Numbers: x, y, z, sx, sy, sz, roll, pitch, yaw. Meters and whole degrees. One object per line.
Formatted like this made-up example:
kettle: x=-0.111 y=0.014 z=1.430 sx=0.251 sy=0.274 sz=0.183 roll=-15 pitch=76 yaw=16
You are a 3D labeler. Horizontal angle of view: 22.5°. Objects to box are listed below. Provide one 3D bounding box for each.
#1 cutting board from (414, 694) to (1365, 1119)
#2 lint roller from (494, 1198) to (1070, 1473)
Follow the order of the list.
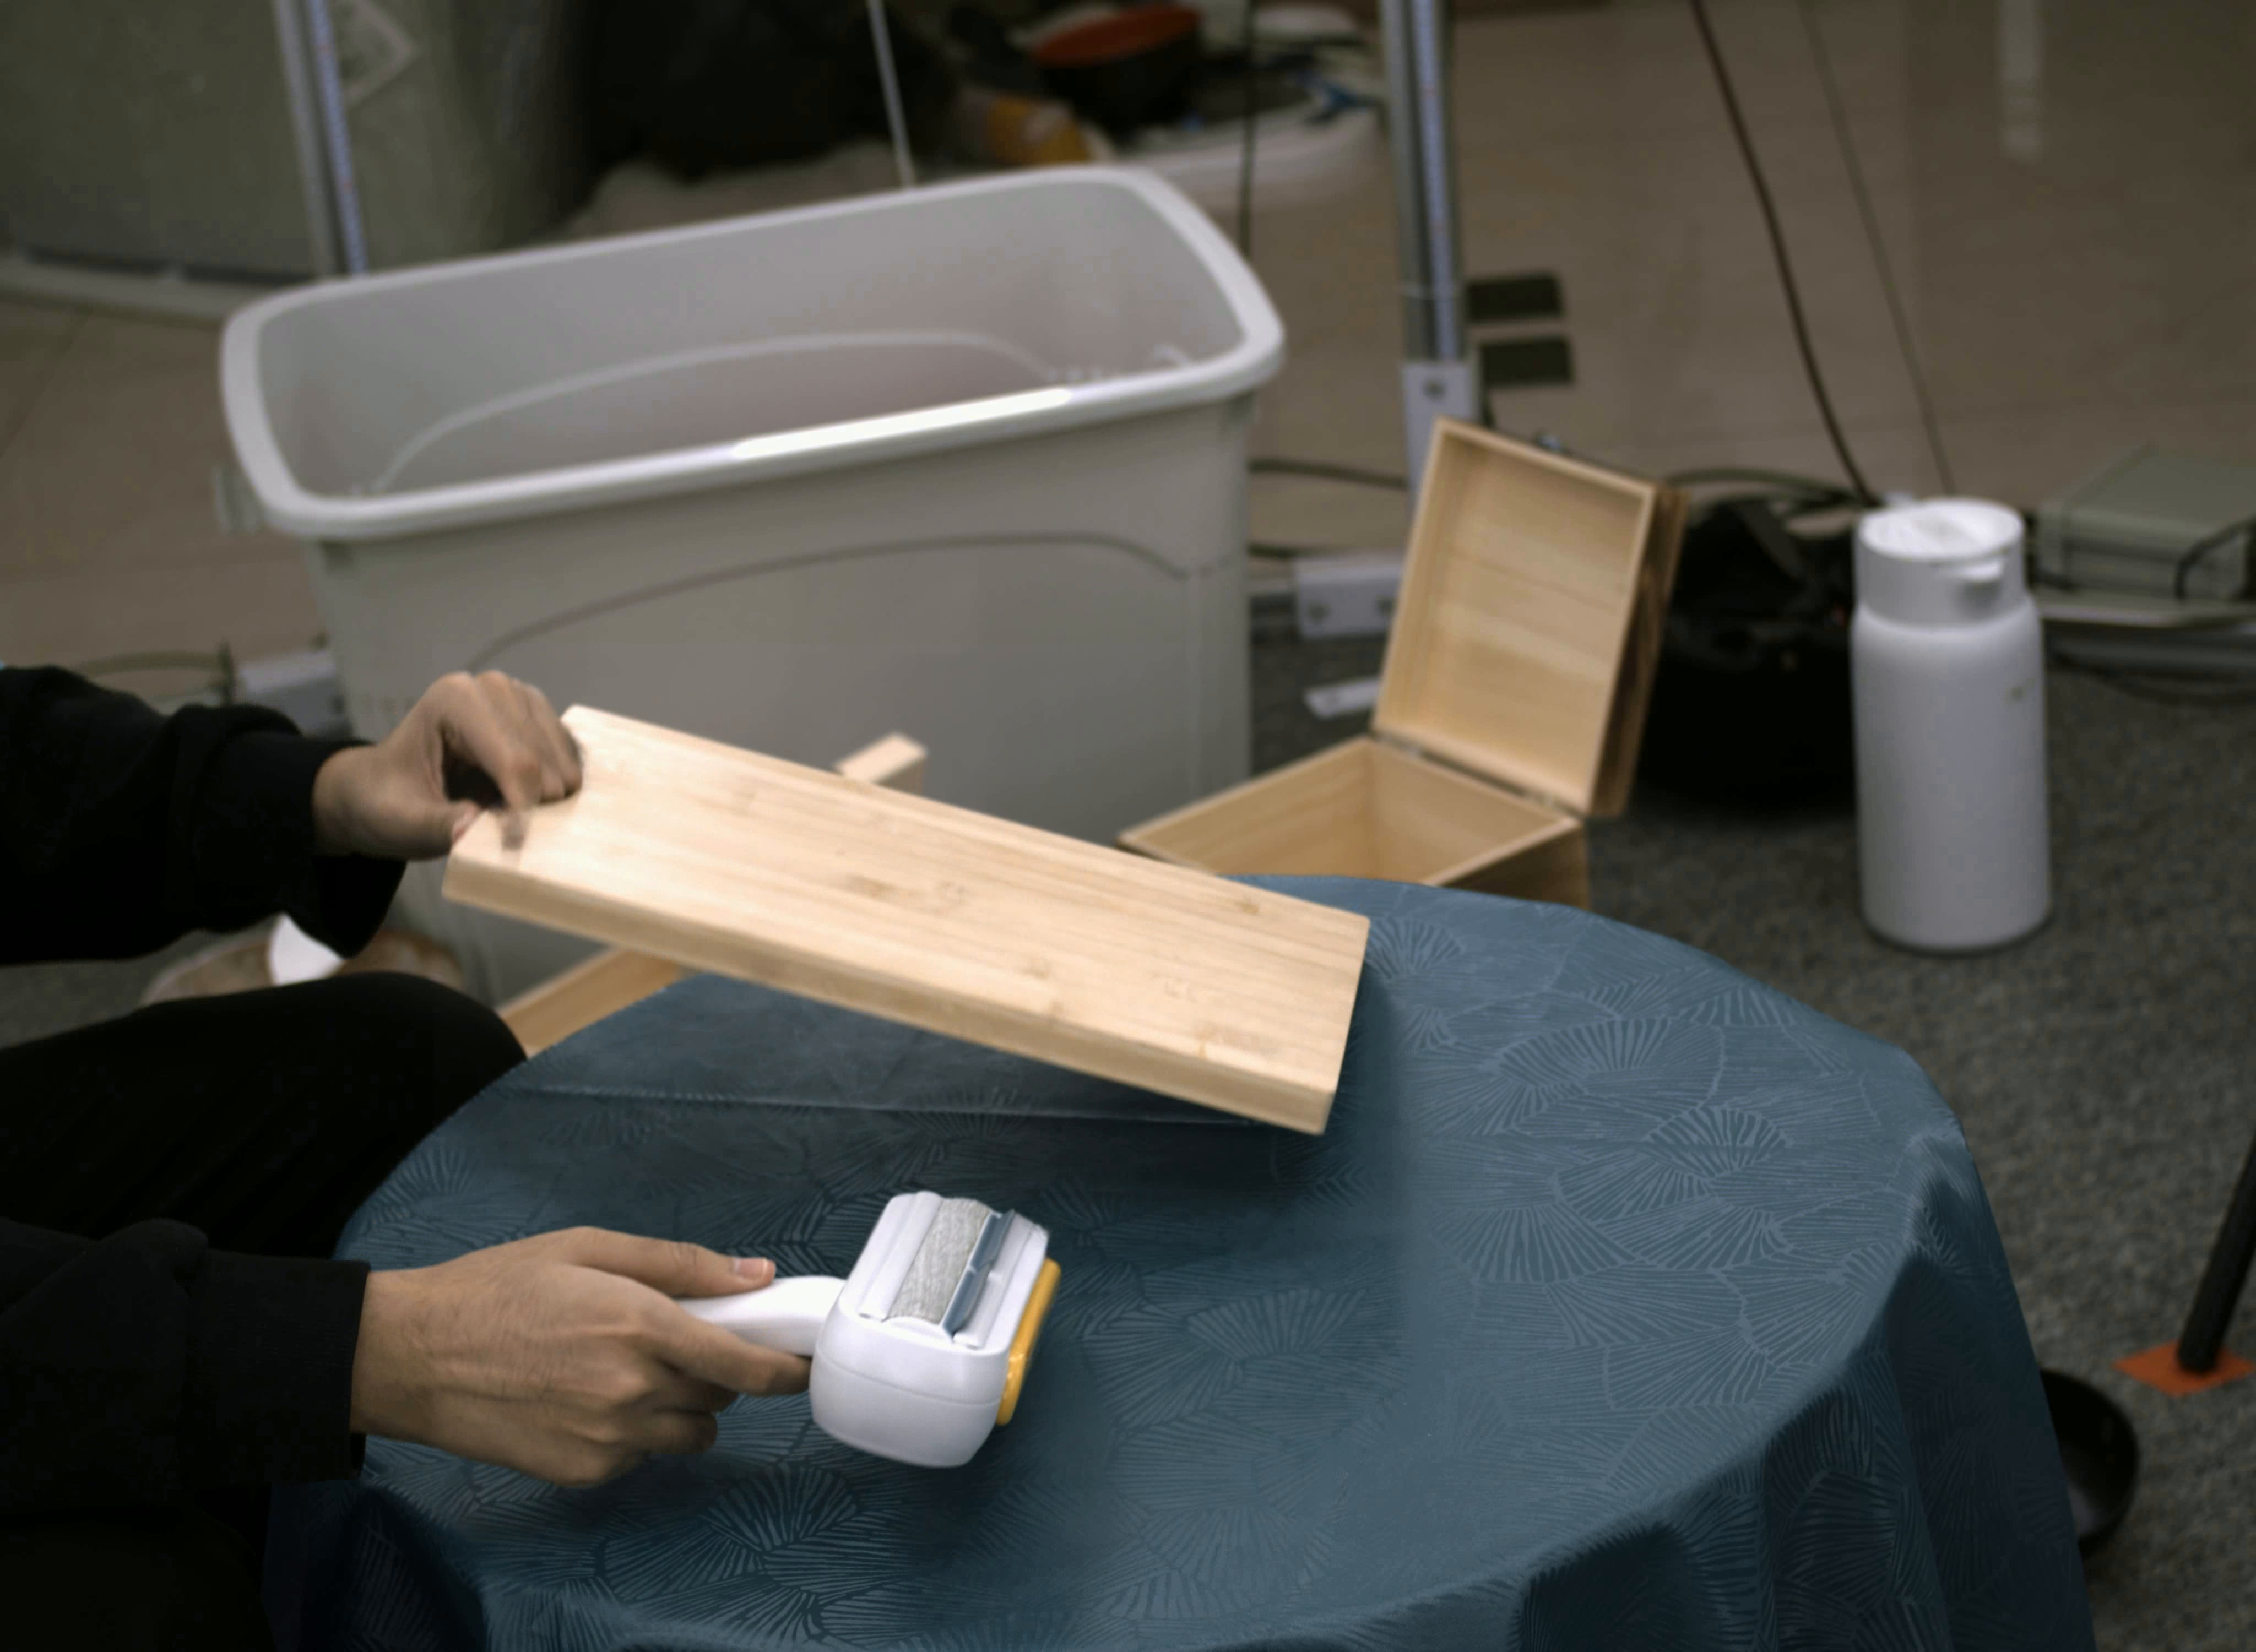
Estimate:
cutting board: x=-0.084 y=0.028 z=2.196 sx=0.348 sy=0.024 sz=0.248 roll=15 pitch=15 yaw=1
lint roller: x=-0.125 y=0.173 z=1.969 sx=0.192 sy=0.075 sz=0.191 roll=7 pitch=14 yaw=7
